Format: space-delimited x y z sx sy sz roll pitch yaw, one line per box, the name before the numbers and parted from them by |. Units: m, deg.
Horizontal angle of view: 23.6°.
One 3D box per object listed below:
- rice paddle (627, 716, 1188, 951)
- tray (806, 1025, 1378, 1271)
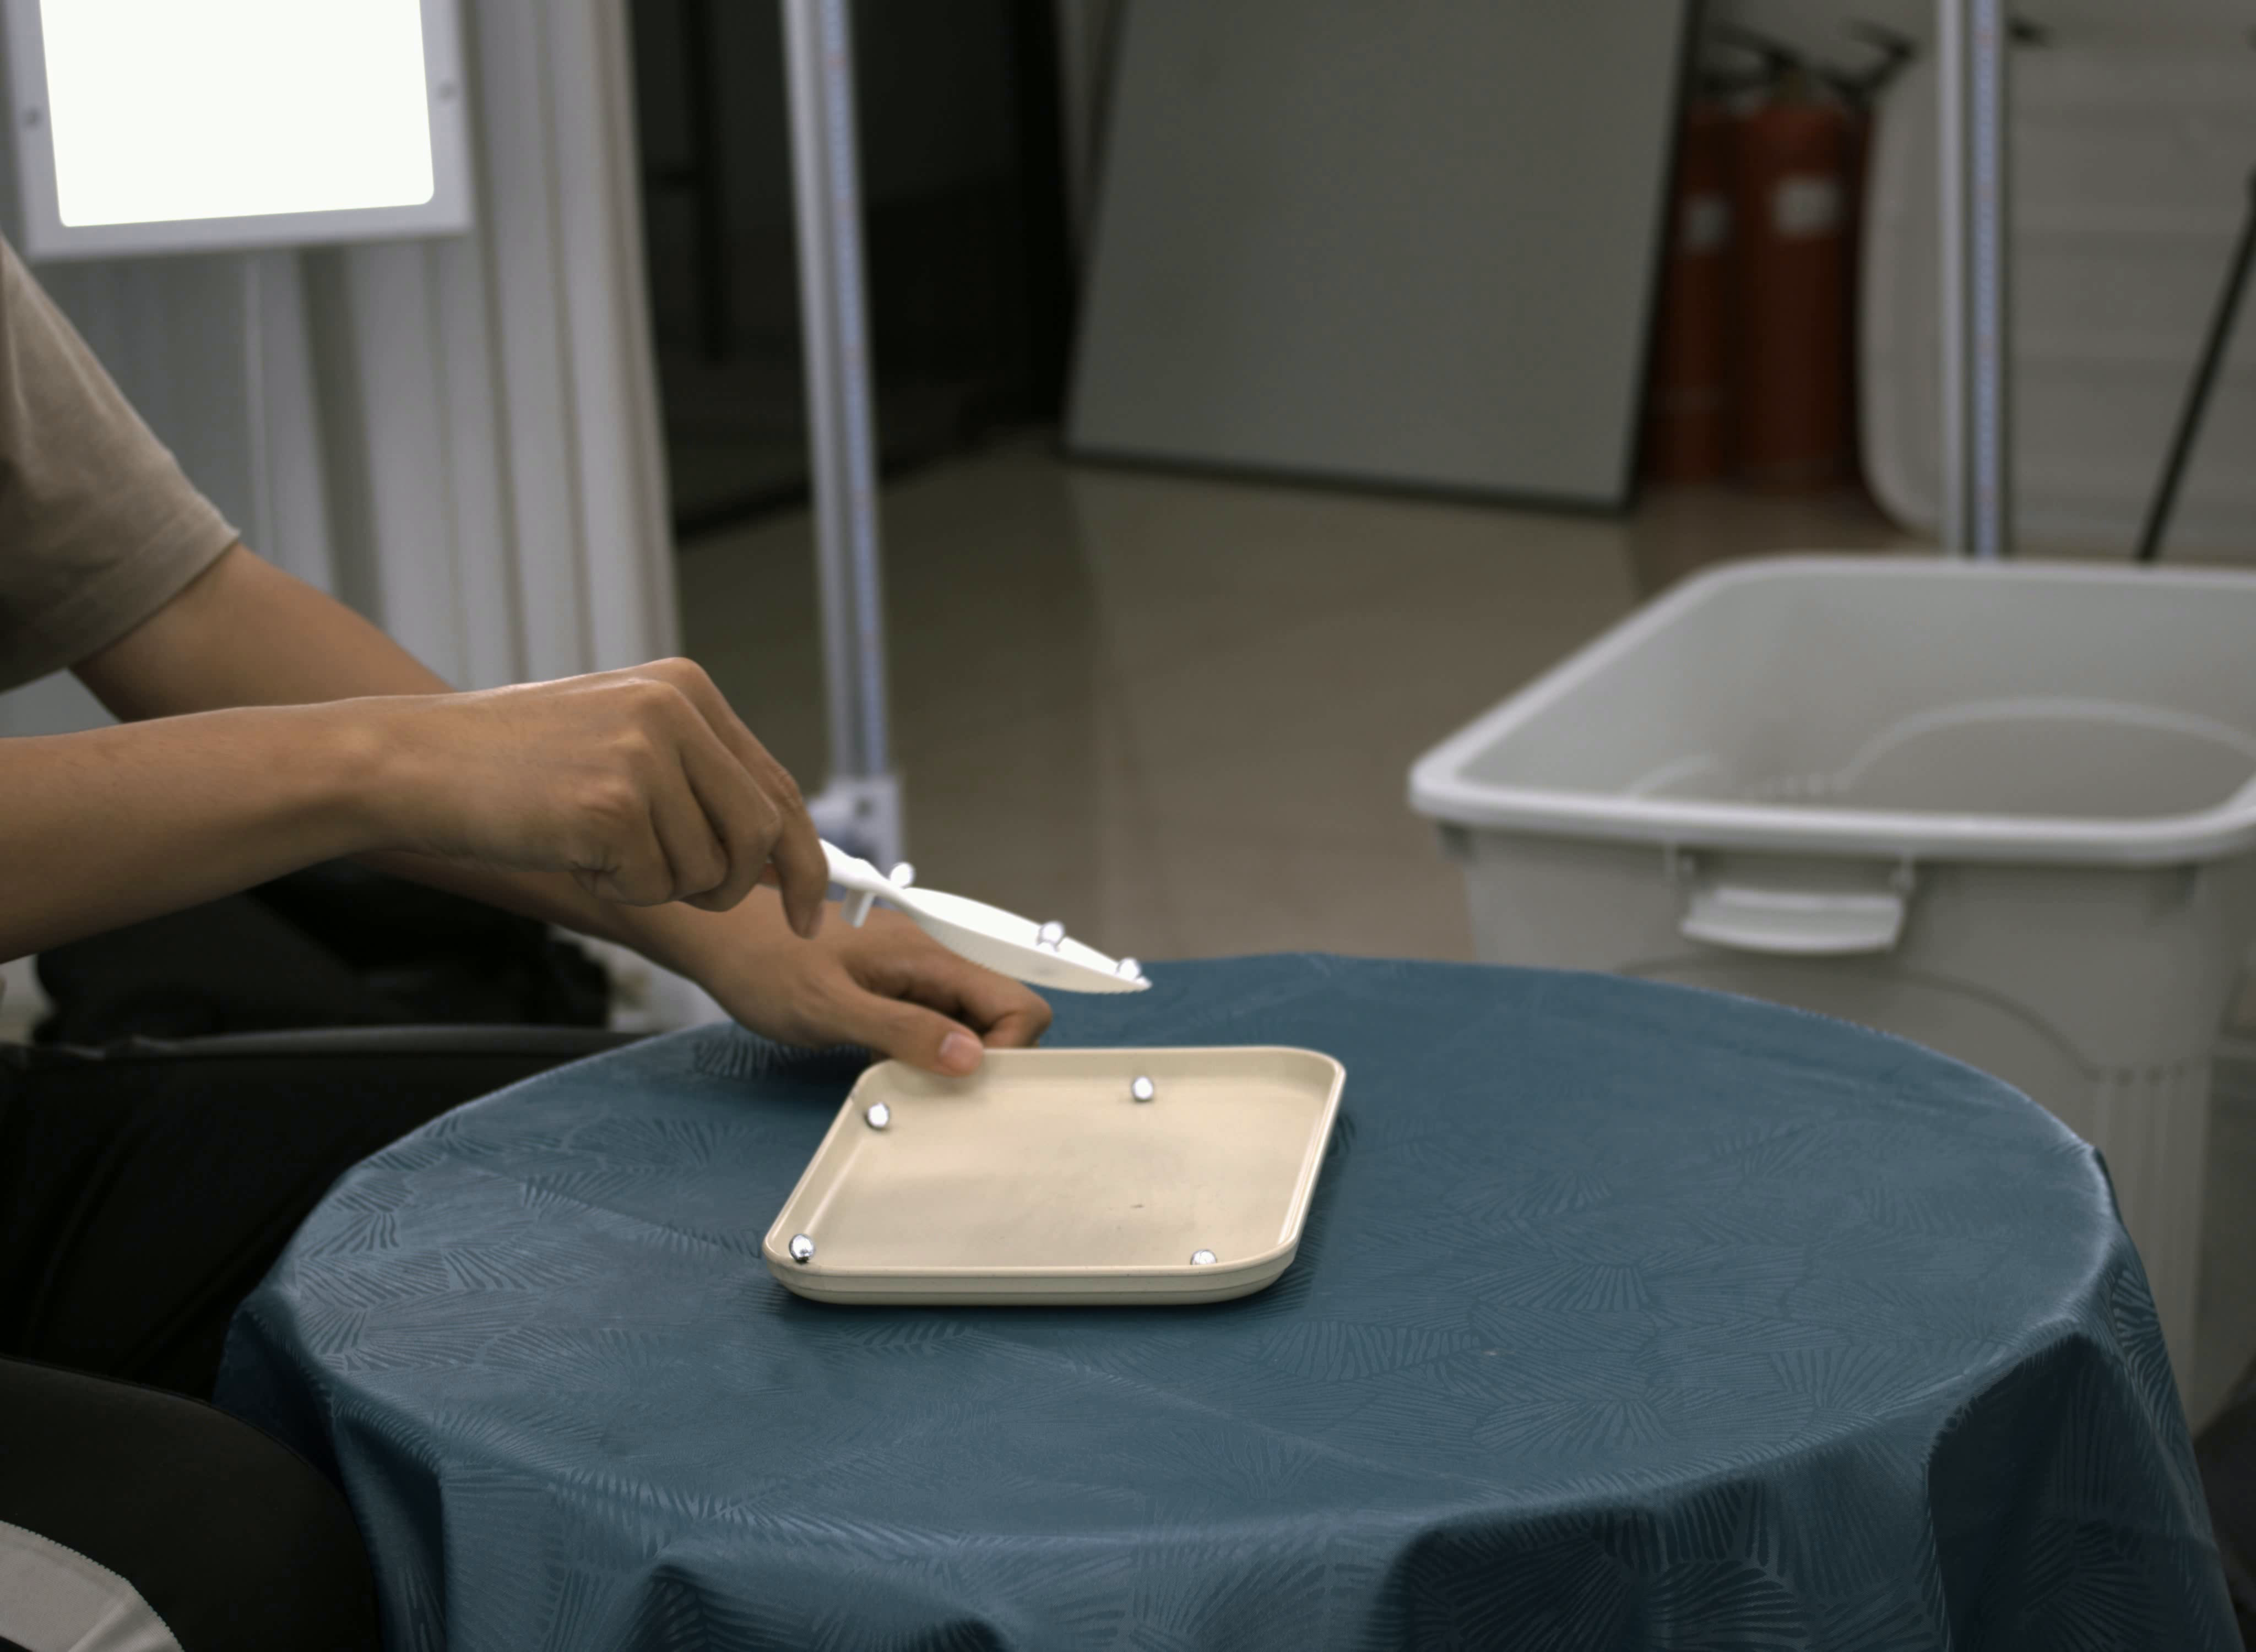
rice paddle | -0.065 0.007 1.723 0.201 0.030 0.069 18 6 -30
tray | -0.007 0.106 1.778 0.170 0.018 0.239 -1 13 9
